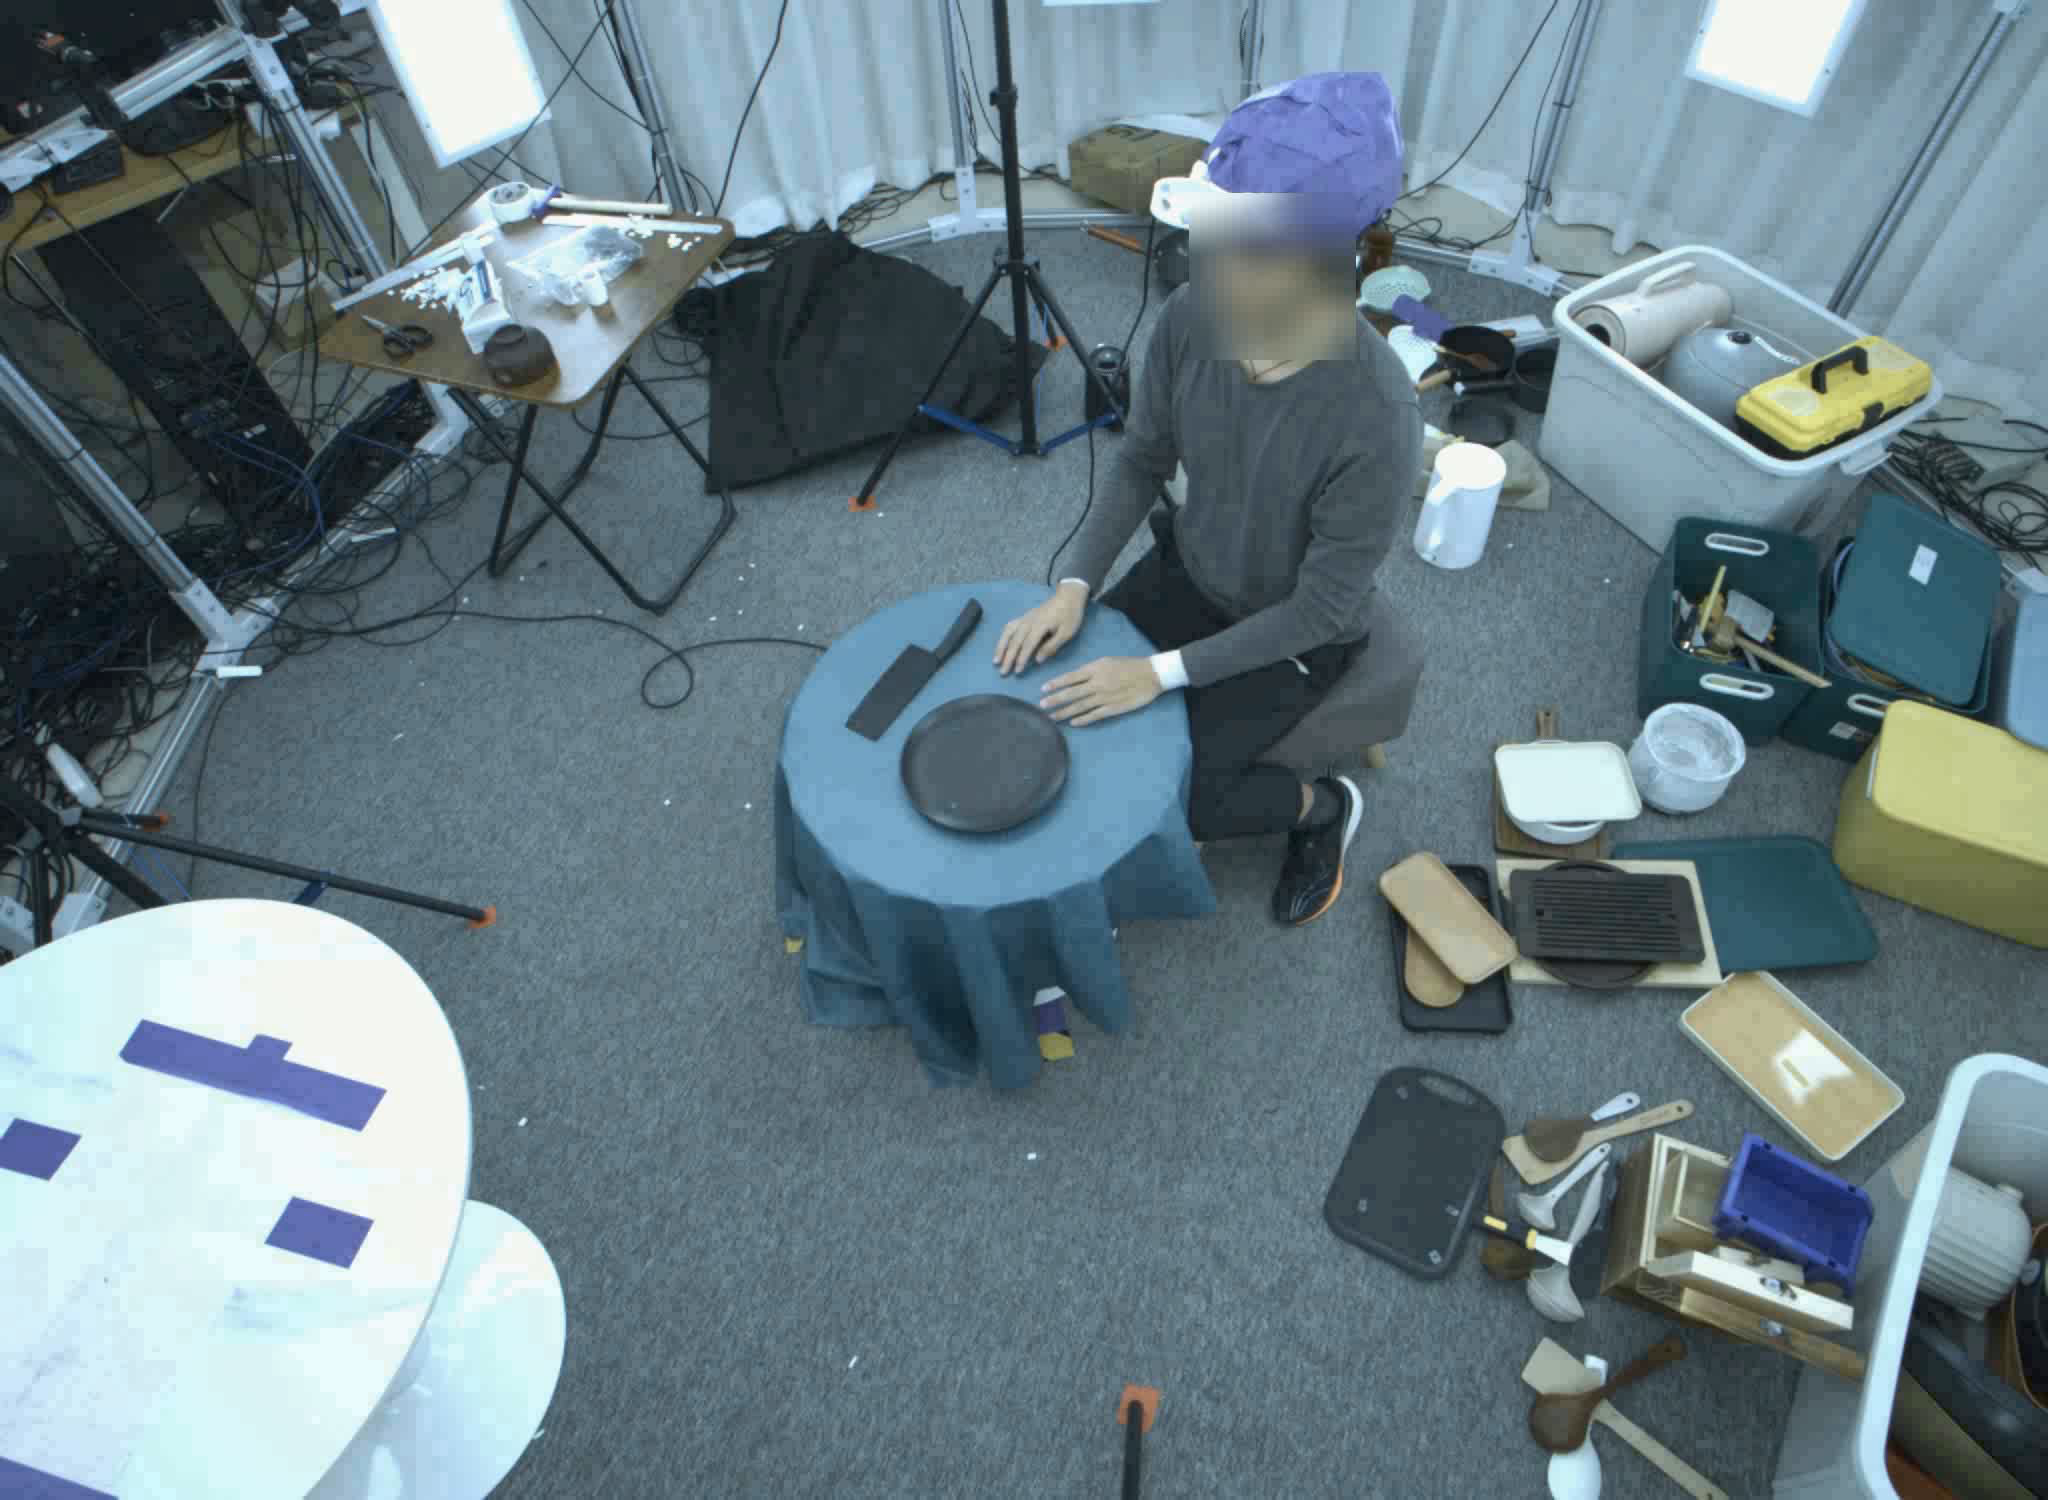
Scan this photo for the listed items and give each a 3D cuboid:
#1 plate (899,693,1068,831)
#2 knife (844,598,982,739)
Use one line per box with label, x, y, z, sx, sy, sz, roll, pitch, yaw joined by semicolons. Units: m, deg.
plate;-0.058;0.018;1.769;0.244;0.023;0.242;0;54;1
knife;-0.164;-0.131;1.885;0.079;0.021;0.303;30;62;22
